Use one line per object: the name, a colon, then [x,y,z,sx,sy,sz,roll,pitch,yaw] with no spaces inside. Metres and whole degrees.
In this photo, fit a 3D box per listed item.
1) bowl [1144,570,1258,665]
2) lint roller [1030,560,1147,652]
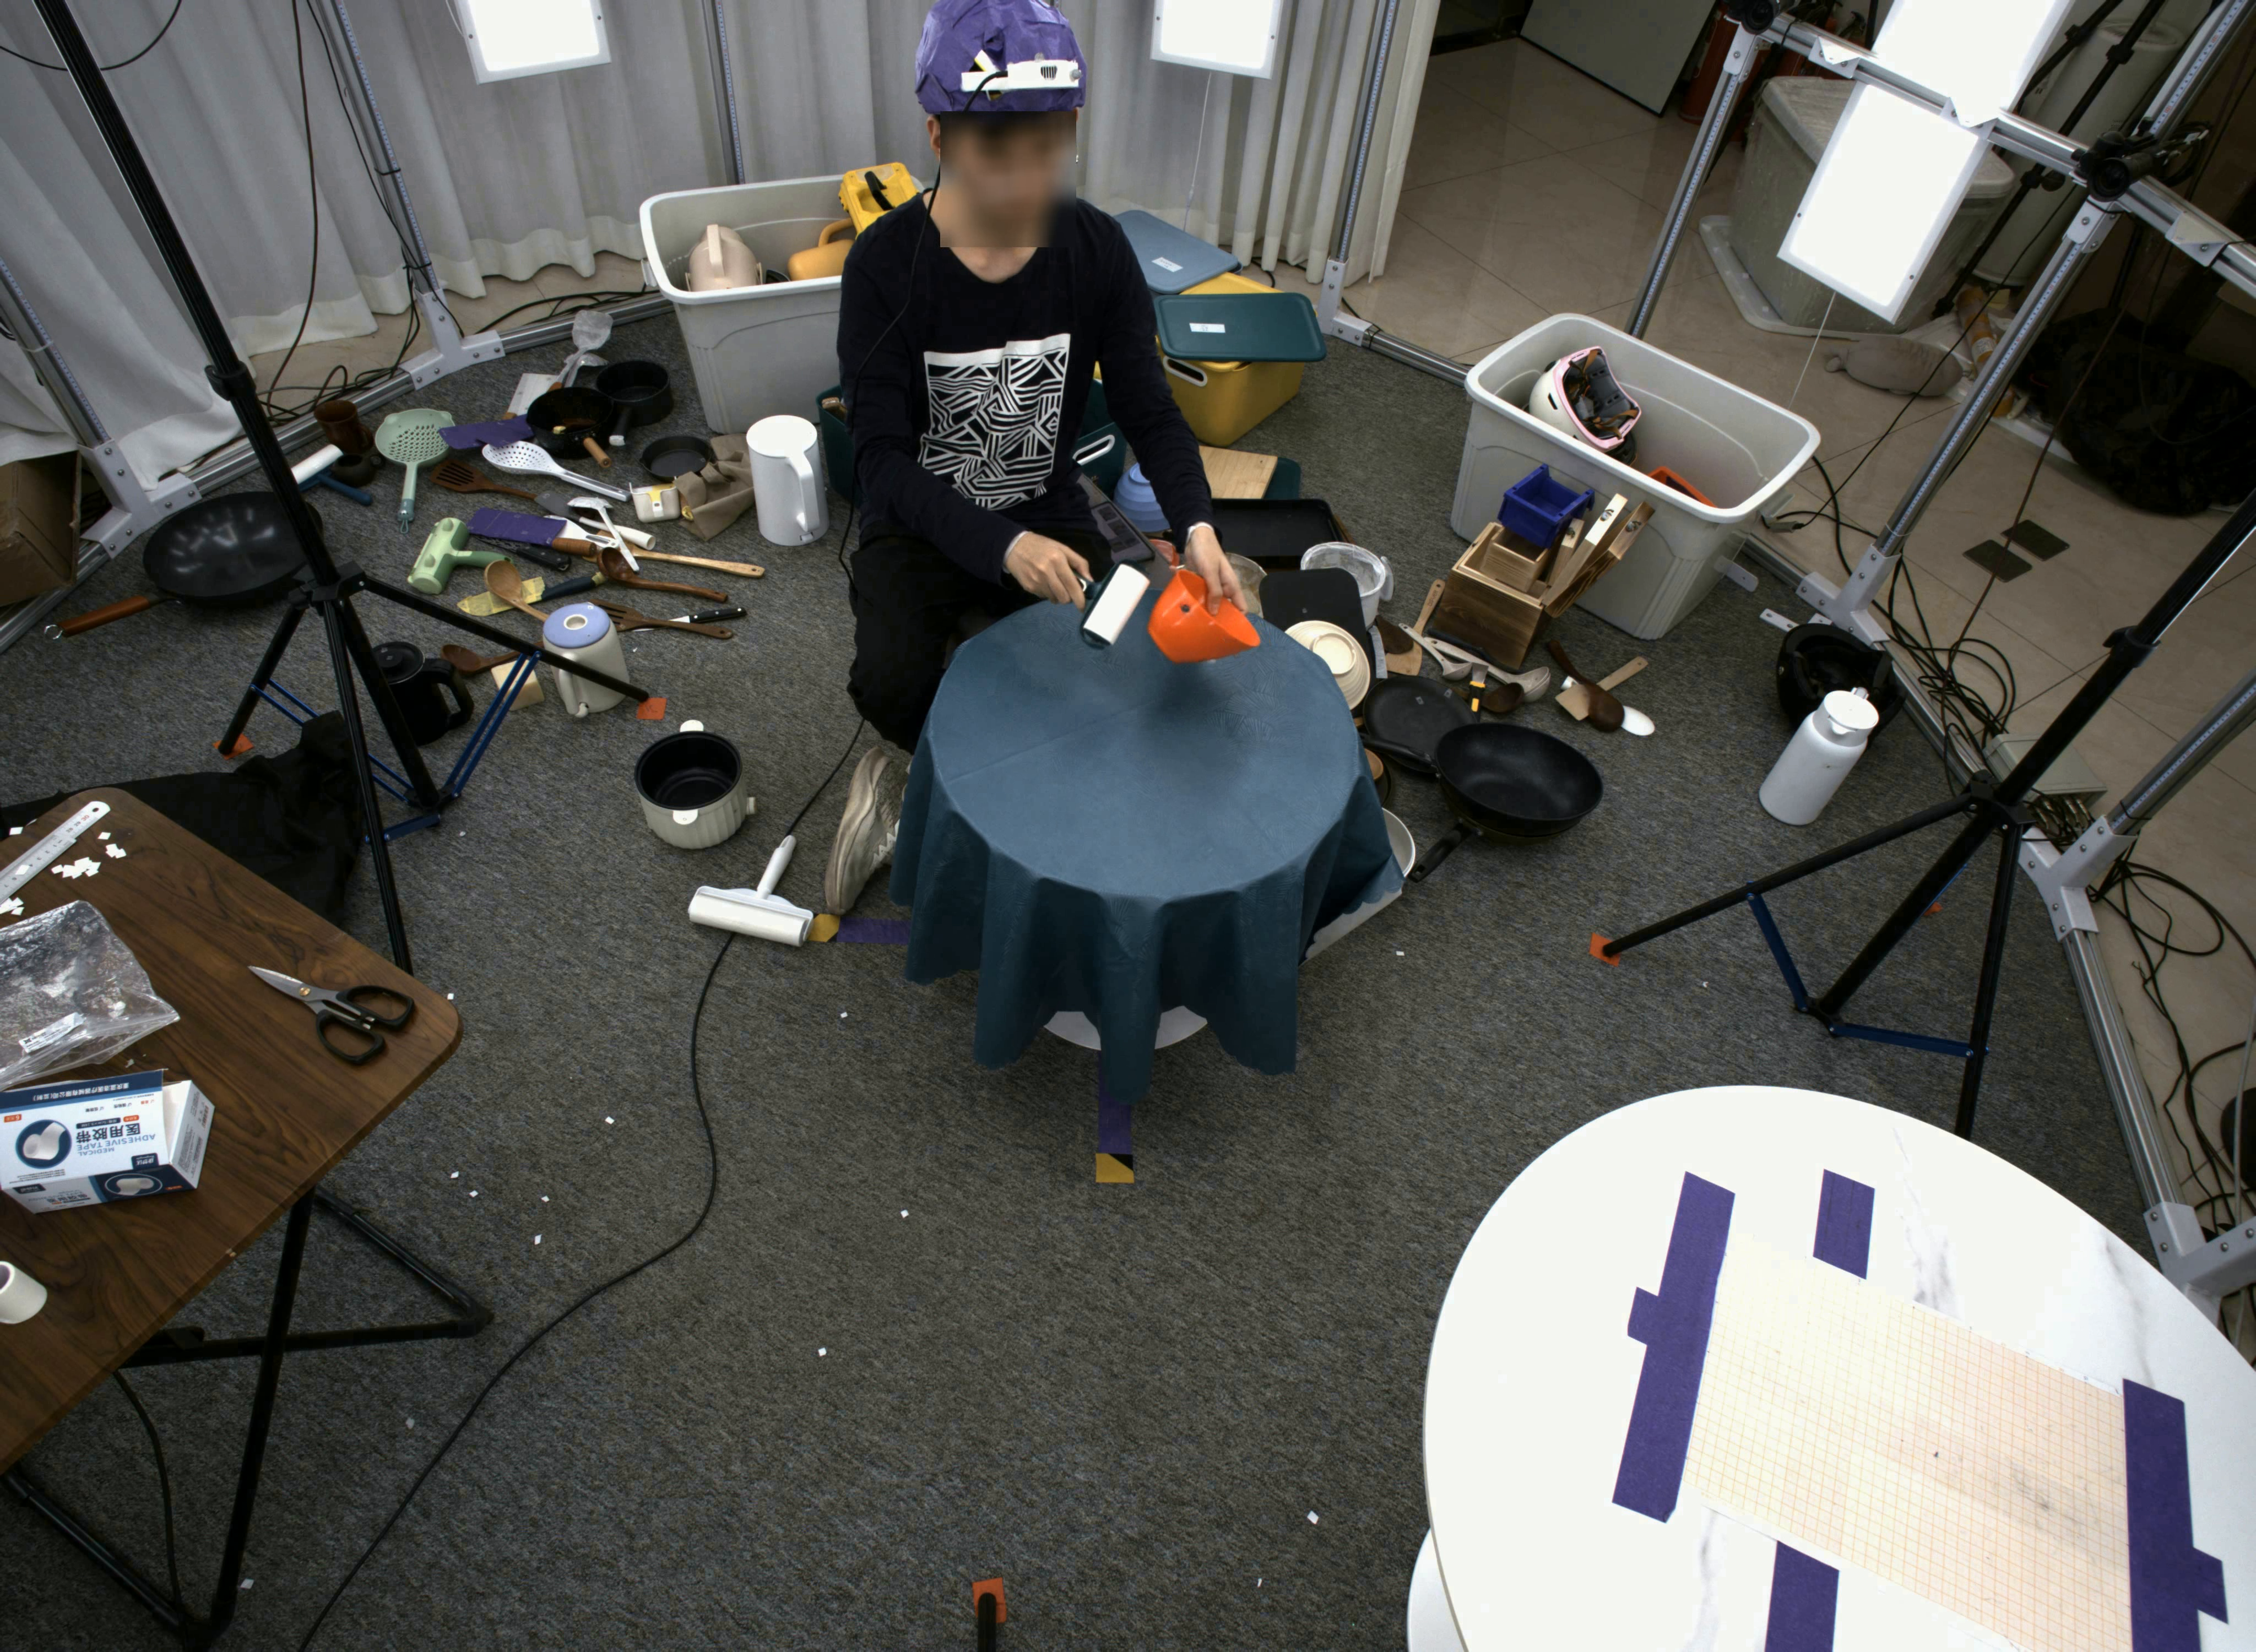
bowl: [0.090,-0.270,1.745,0.104,0.145,0.151,-39,53,15]
lint roller: [-0.071,-0.328,1.769,0.182,0.047,0.134,30,87,24]
